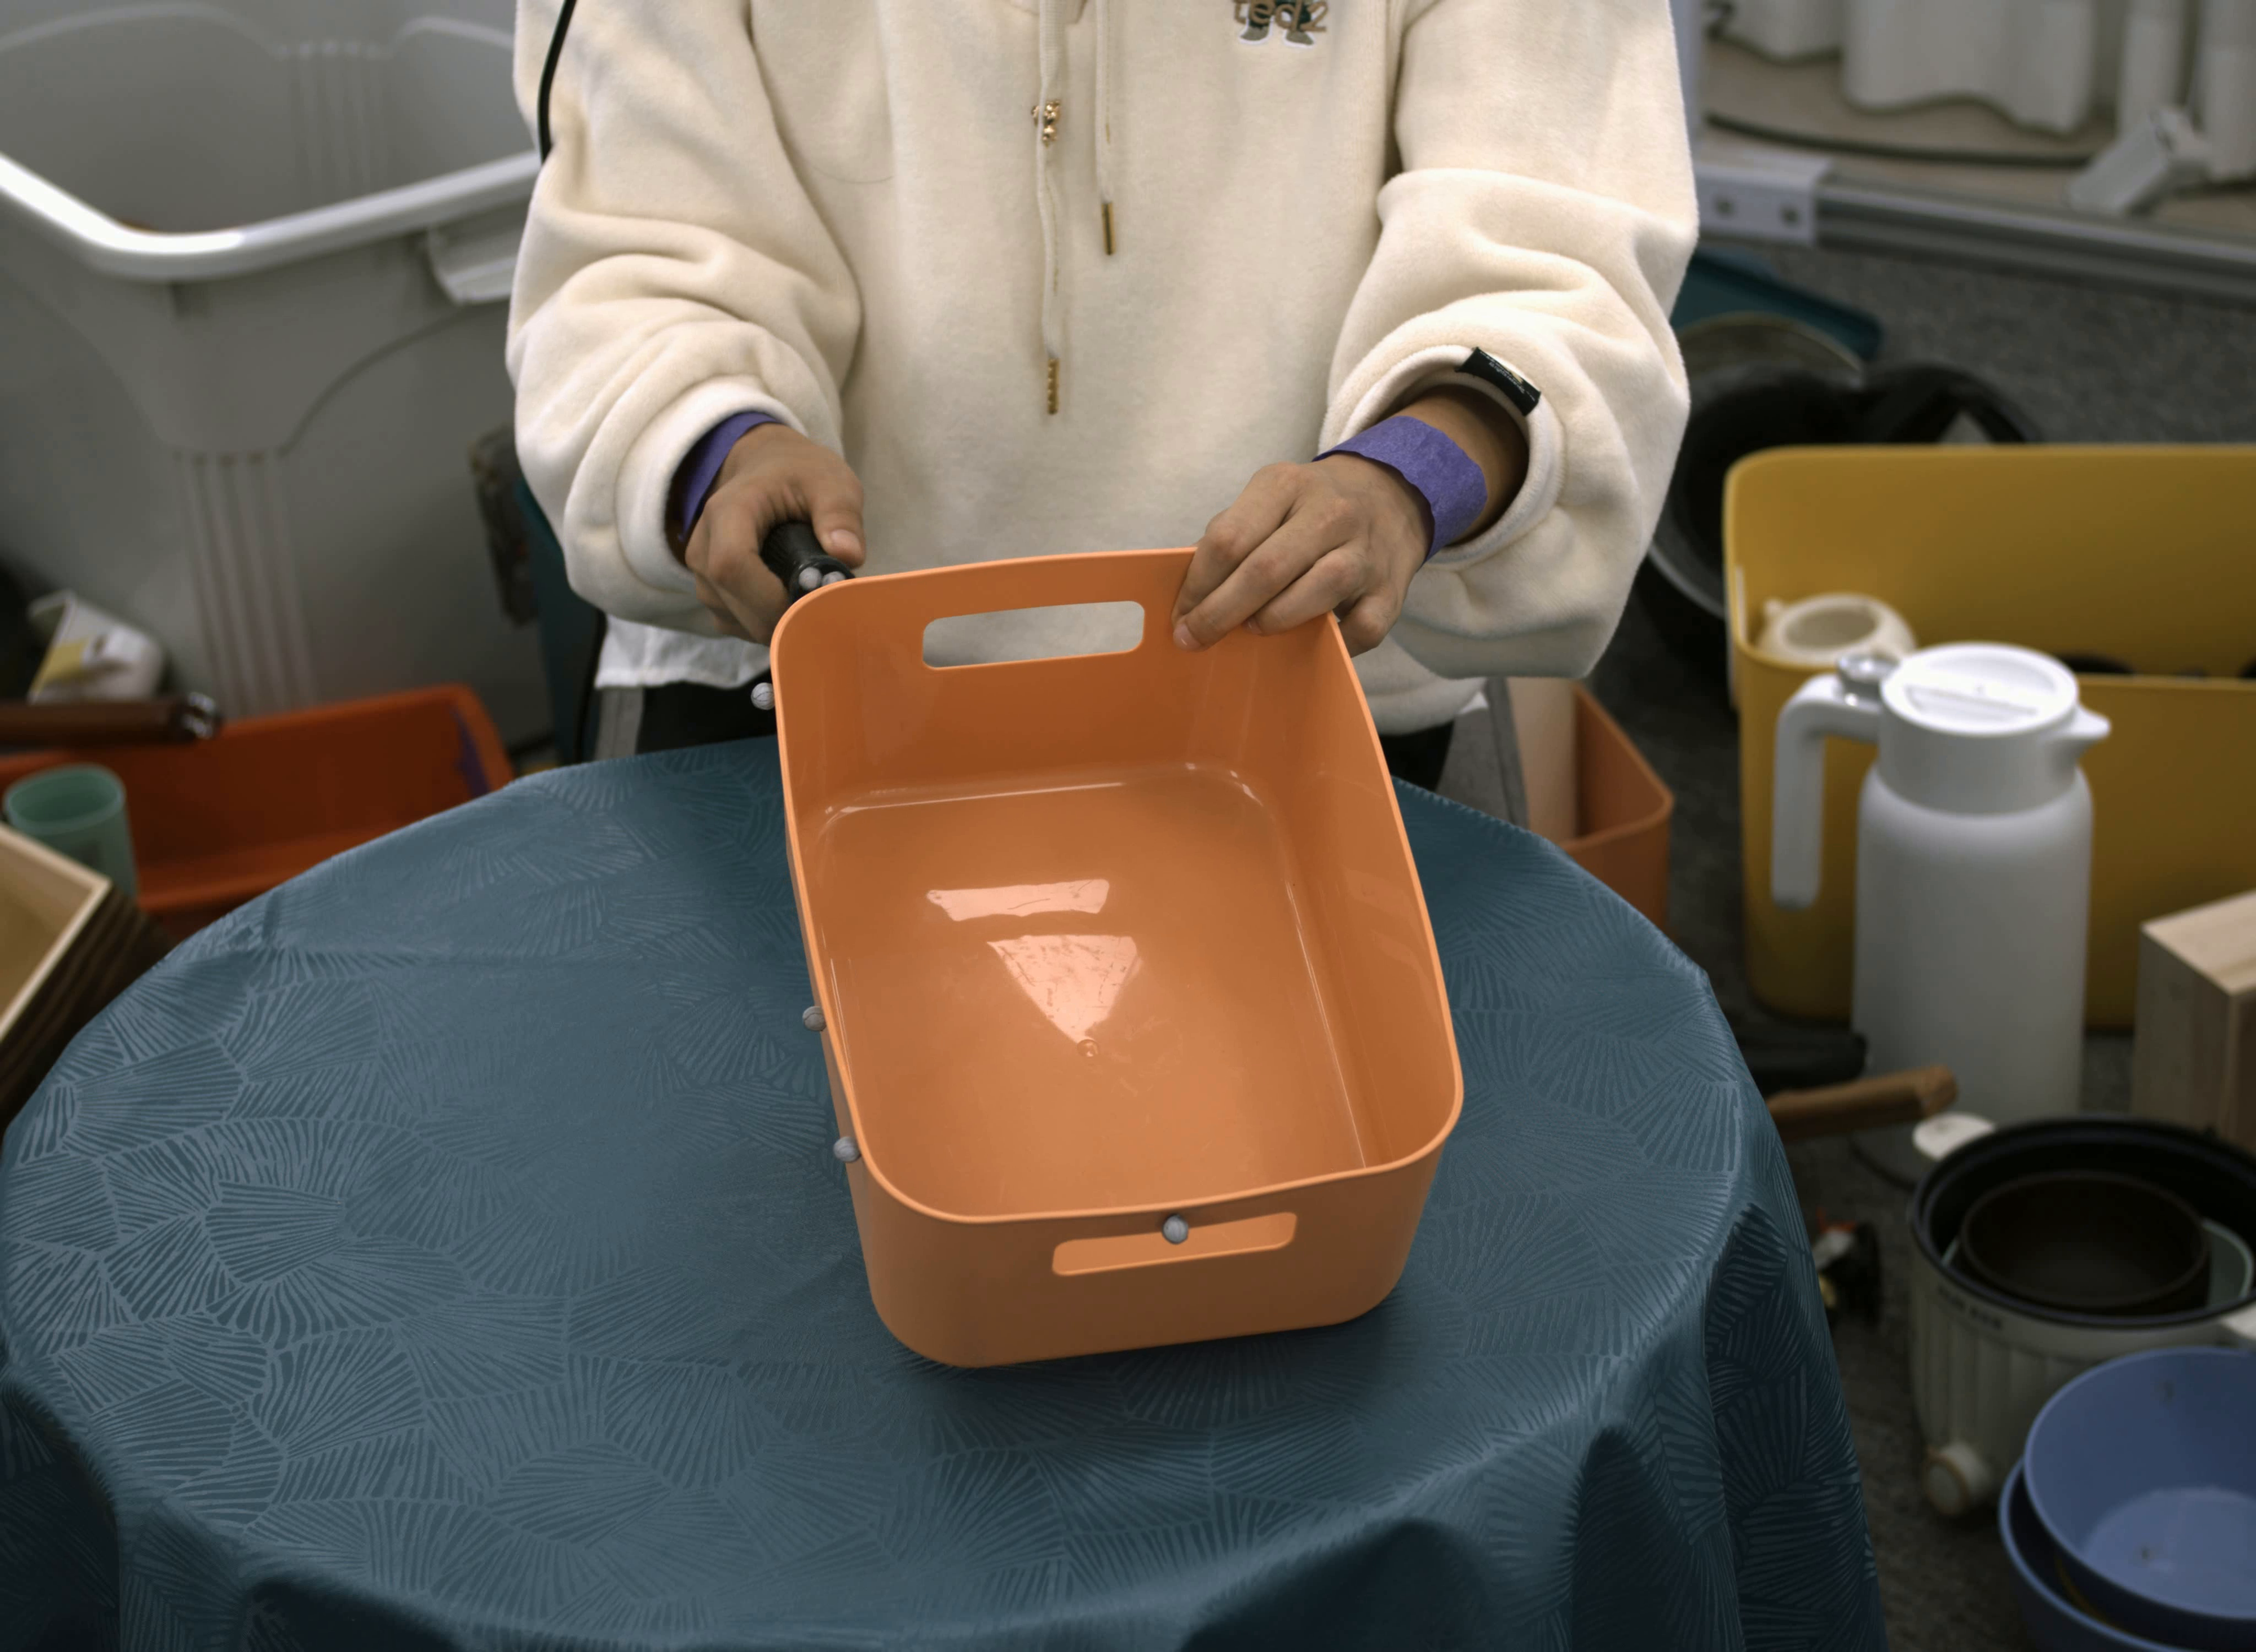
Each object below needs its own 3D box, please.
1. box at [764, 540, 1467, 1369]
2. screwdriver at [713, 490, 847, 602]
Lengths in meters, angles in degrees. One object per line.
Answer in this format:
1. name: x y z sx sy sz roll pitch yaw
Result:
1. box: -0.008 0.043 1.815 0.199 0.101 0.278 -6 49 -9
2. screwdriver: -0.115 -0.096 1.981 0.031 0.031 0.198 -11 12 -15
